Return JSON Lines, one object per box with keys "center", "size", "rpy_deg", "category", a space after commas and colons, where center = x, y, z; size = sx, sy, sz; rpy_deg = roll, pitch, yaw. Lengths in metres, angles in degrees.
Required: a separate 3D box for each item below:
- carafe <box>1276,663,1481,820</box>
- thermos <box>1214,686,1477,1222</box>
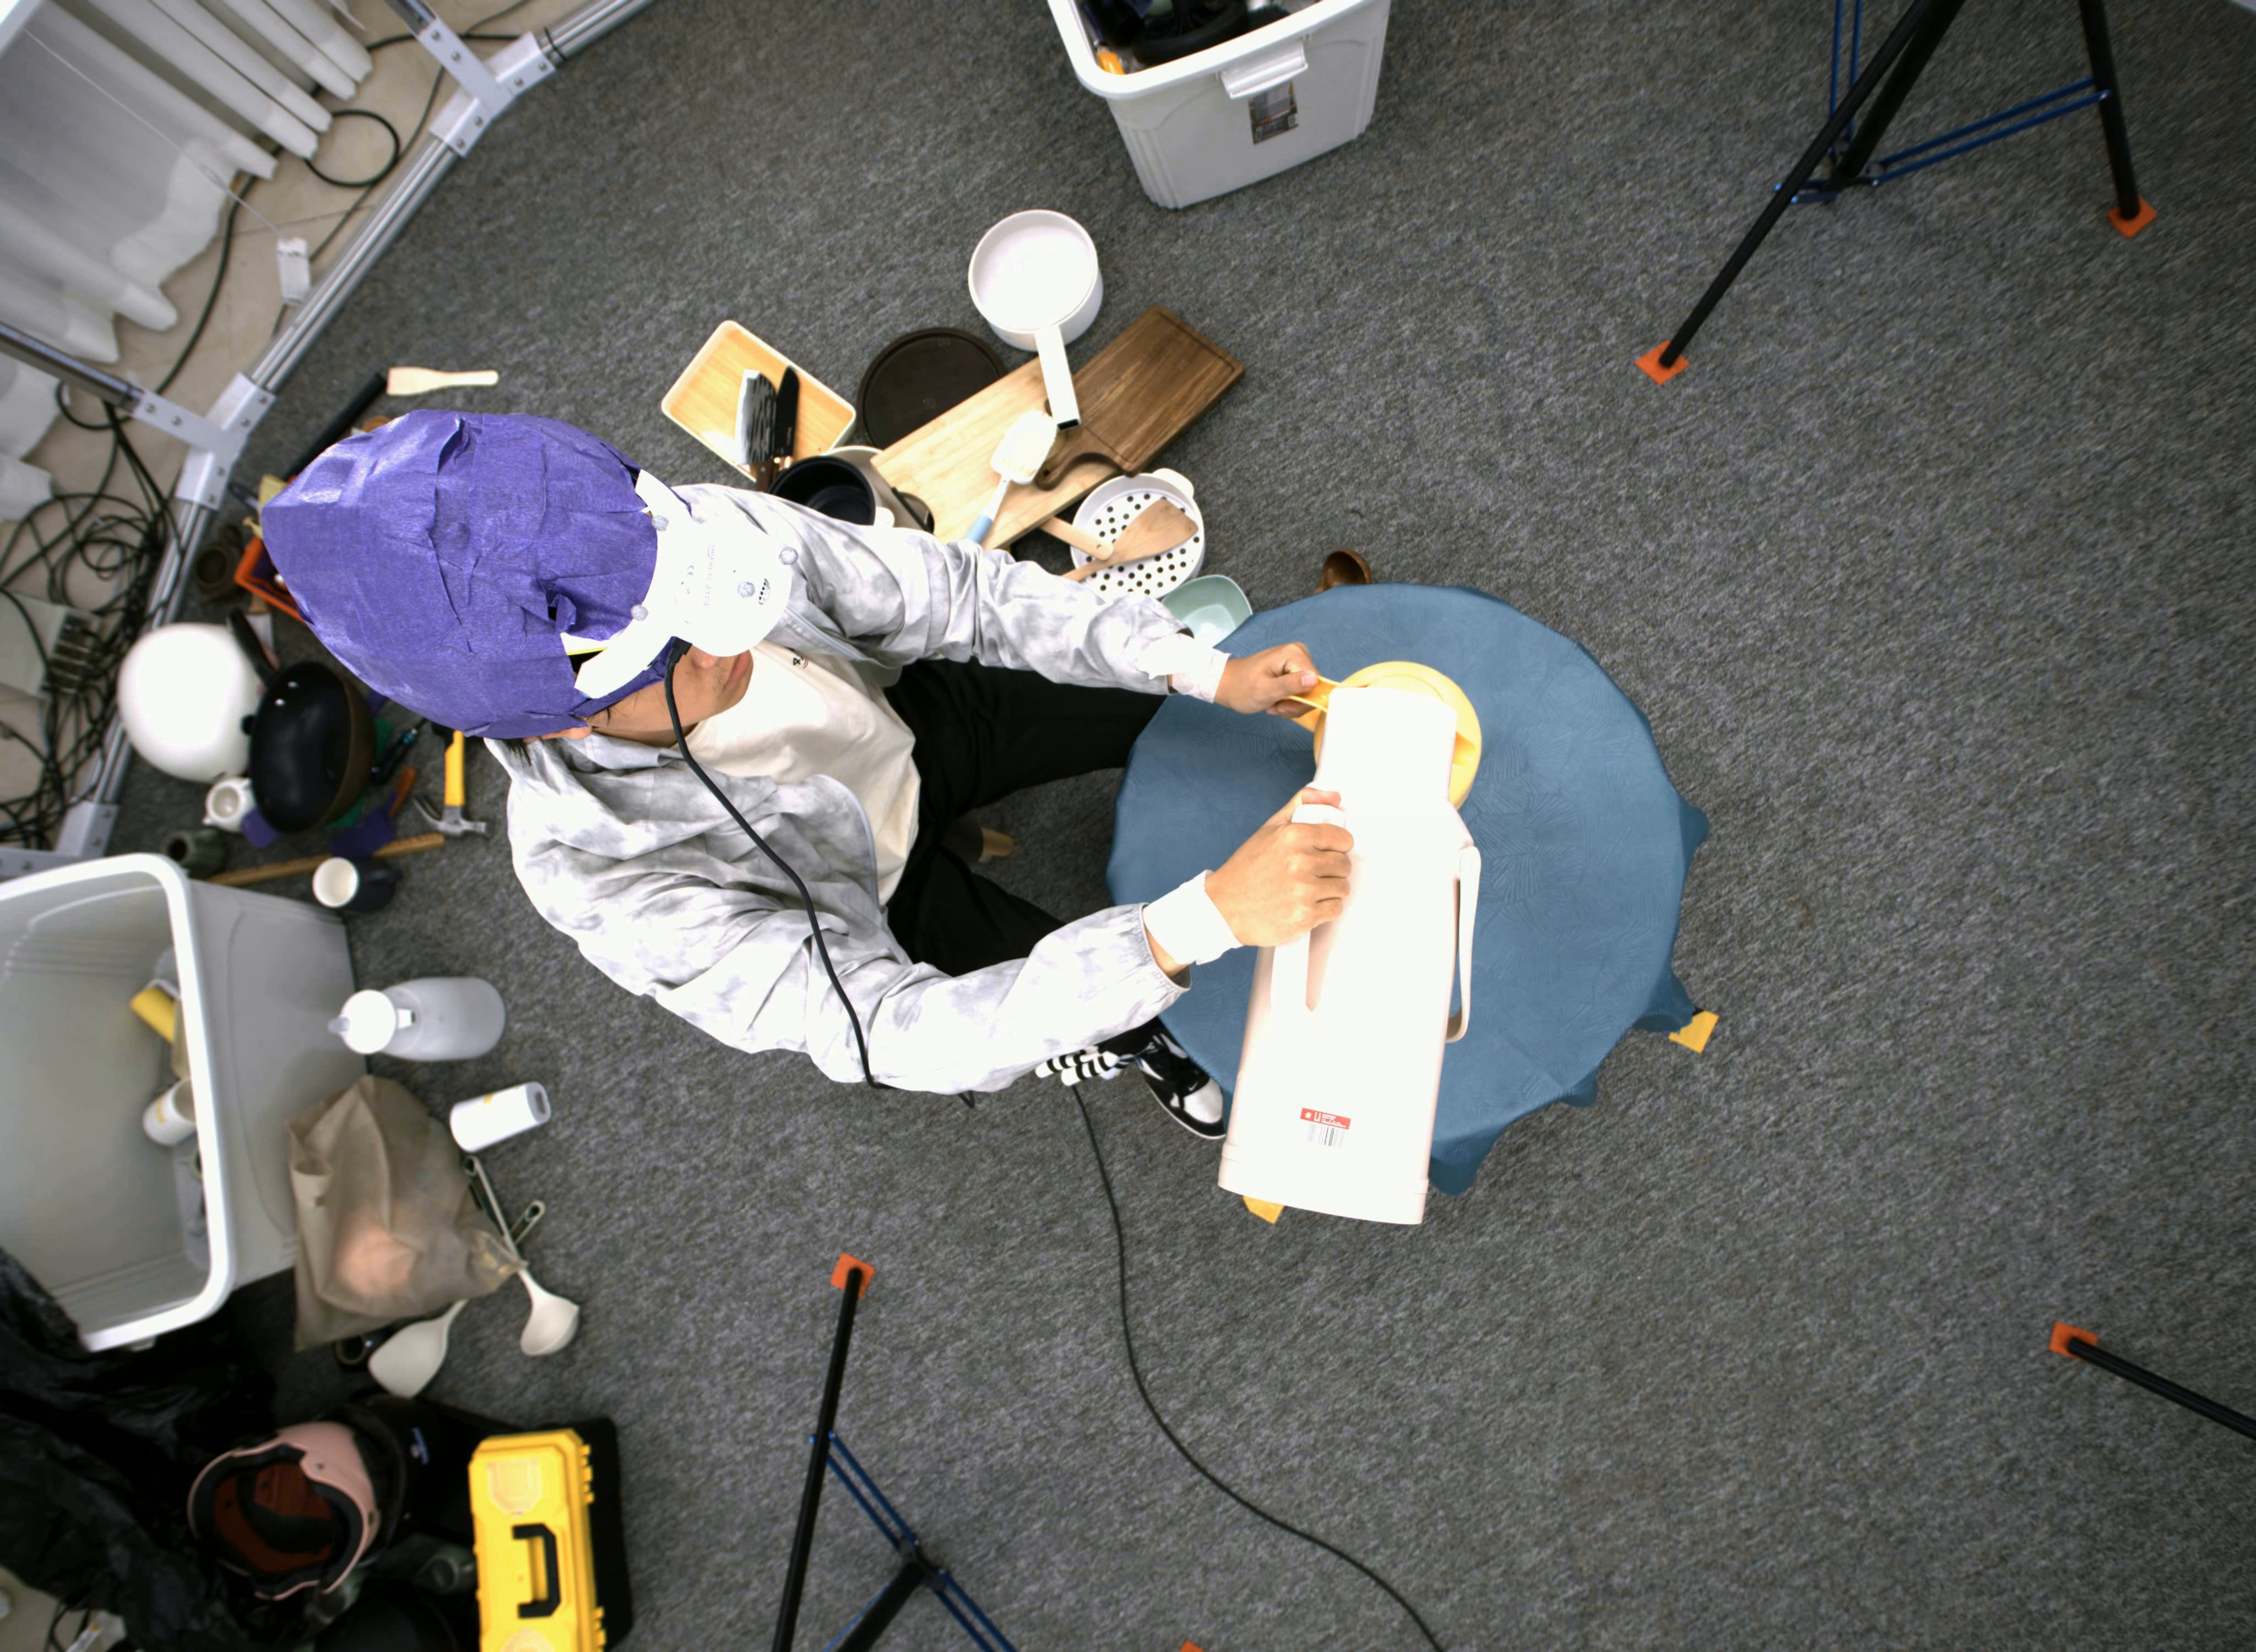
{"center": [0.243, -0.087, 1.339], "size": [0.202, 0.261, 0.163], "rpy_deg": [26, 87, 10], "category": "carafe"}
{"center": [0.169, 0.094, 1.082], "size": [0.176, 0.207, 0.403], "rpy_deg": [7, 82, 36], "category": "thermos"}
